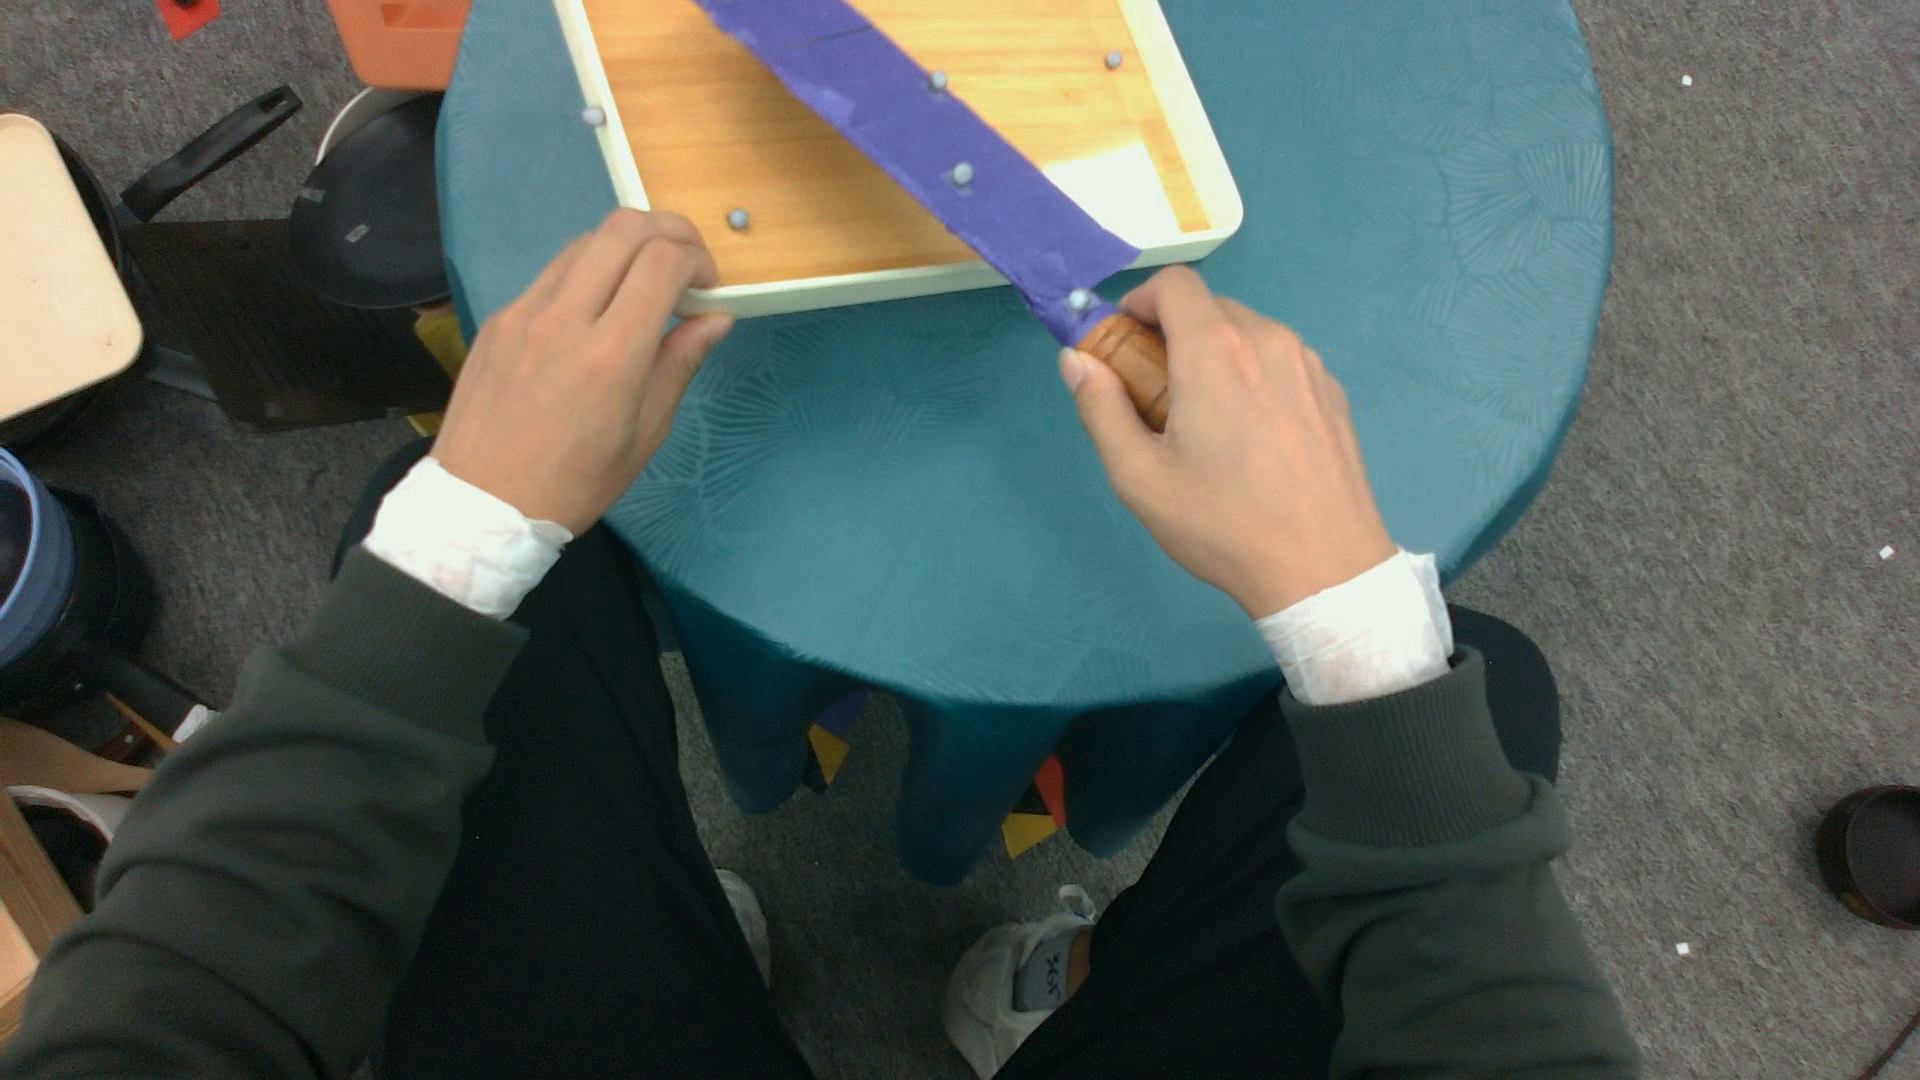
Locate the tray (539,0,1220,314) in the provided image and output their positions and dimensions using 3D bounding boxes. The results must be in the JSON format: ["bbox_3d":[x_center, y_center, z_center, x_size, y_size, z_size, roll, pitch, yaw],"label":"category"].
[{"bbox_3d":[-0.028,-0.209,0.636,0.301,0.027,0.192,-13,76,-30],"label":"tray"}]

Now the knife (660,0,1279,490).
[{"bbox_3d":[0.010,-0.145,0.560,0.315,0.032,0.104,42,39,5],"label":"knife"}]
